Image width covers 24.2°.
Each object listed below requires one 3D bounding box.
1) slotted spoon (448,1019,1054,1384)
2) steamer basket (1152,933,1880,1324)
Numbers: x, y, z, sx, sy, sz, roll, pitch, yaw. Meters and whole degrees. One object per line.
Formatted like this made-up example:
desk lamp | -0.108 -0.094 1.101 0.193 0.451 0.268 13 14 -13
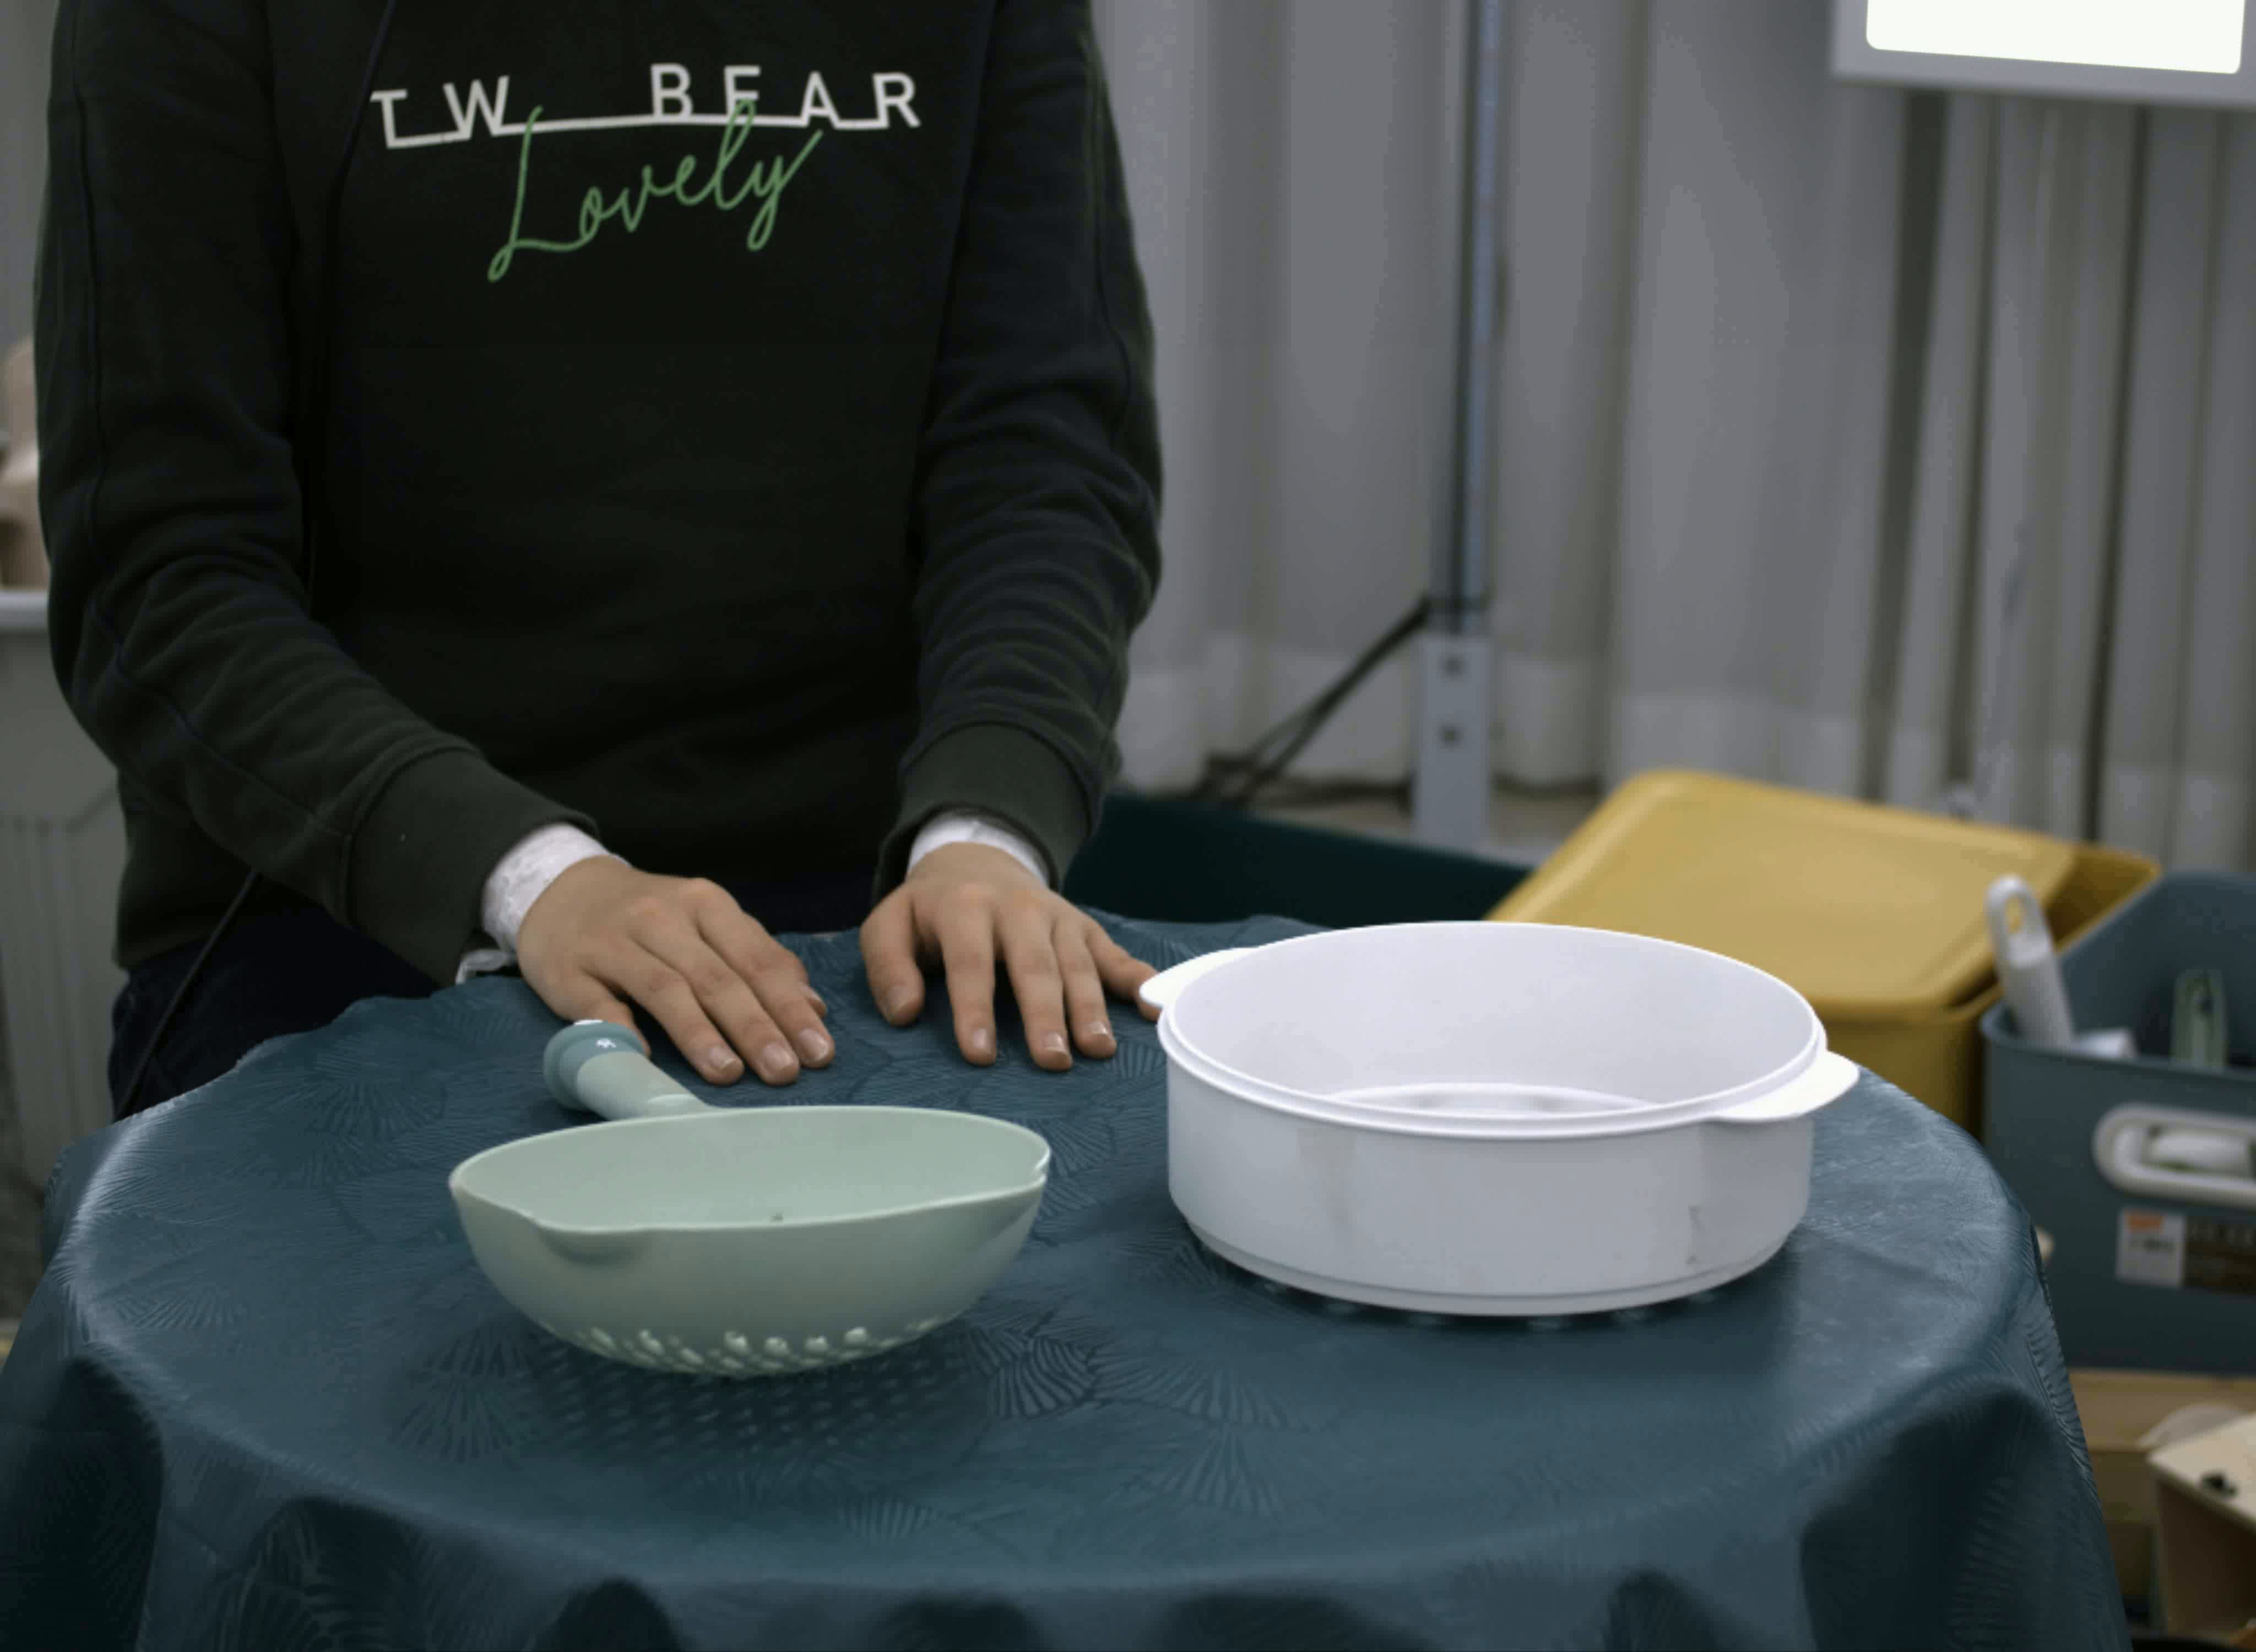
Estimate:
slotted spoon | -0.132 0.095 1.564 0.169 0.076 0.355 -4 16 -16
steamer basket | 0.114 0.091 1.589 0.228 0.070 0.202 10 18 30
